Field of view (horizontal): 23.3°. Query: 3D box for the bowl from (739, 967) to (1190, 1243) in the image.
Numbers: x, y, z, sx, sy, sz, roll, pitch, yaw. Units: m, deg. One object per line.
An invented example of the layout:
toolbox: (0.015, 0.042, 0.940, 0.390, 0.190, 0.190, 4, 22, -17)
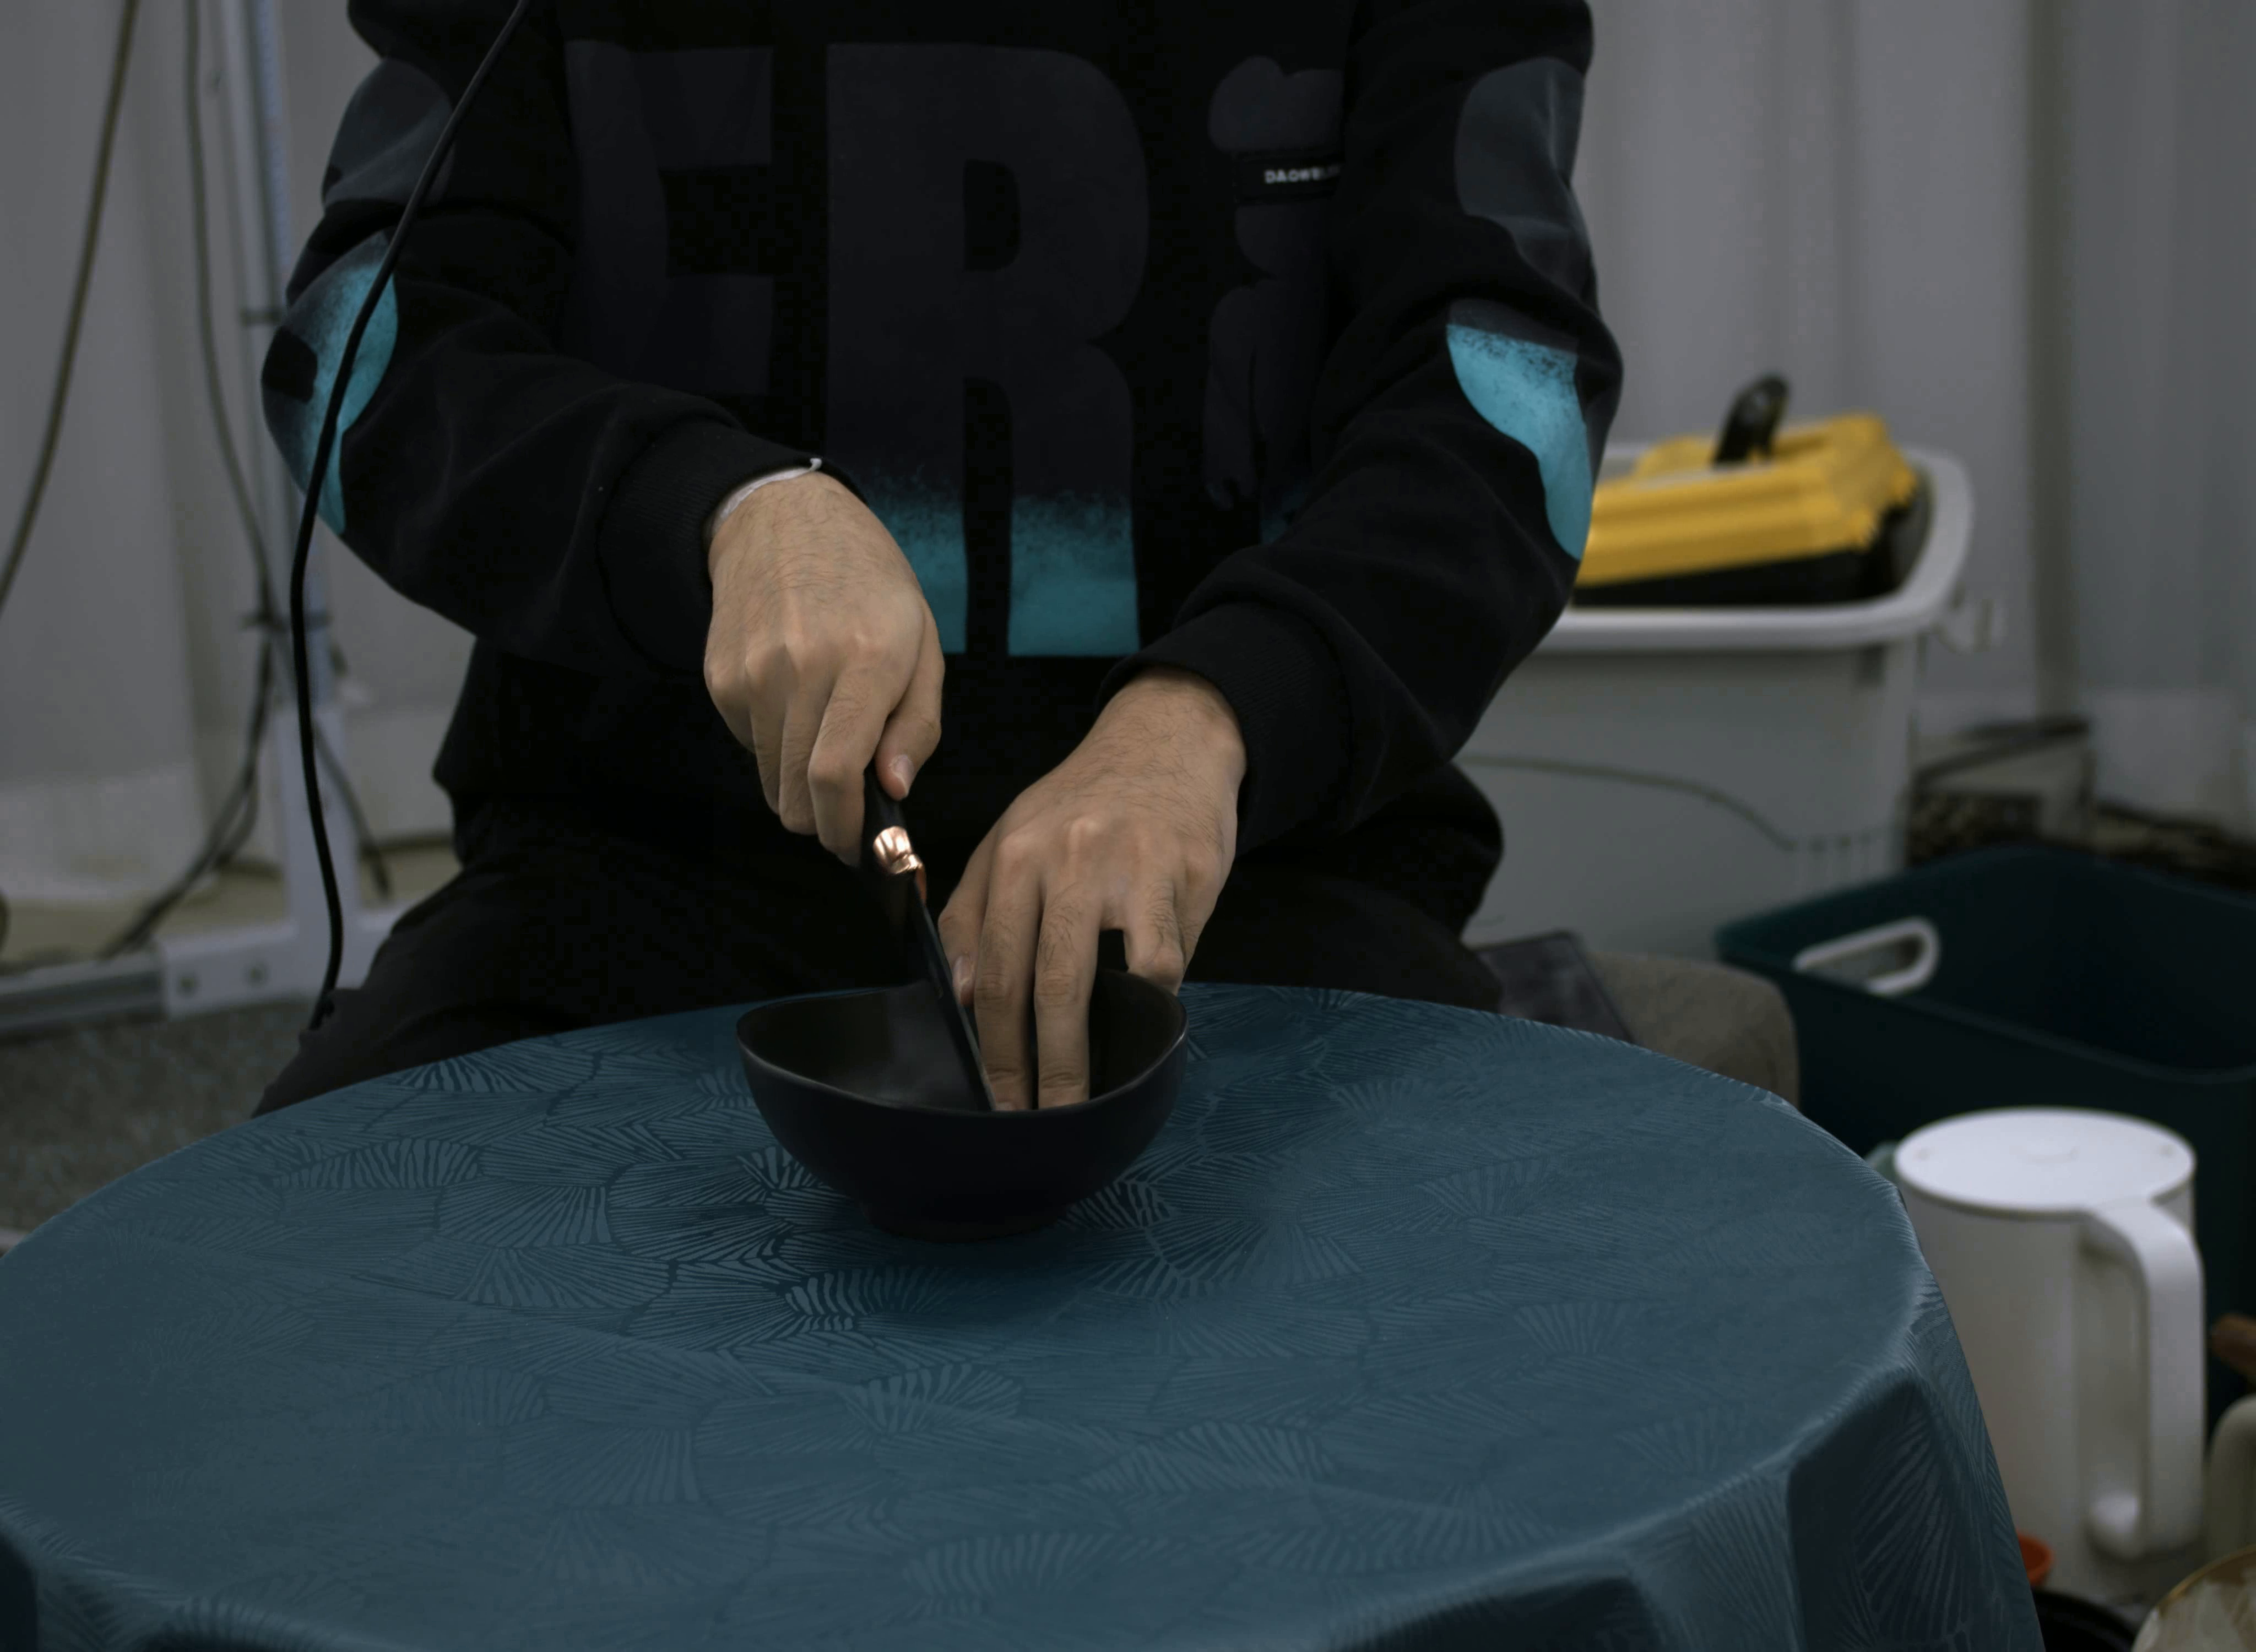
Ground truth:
bowl: (-0.051, 0.089, 1.696, 0.137, 0.066, 0.171, -8, 14, -20)

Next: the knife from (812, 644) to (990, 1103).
knife: (-0.069, 0.023, 1.744, 0.017, 0.026, 0.229, -10, 48, -12)
